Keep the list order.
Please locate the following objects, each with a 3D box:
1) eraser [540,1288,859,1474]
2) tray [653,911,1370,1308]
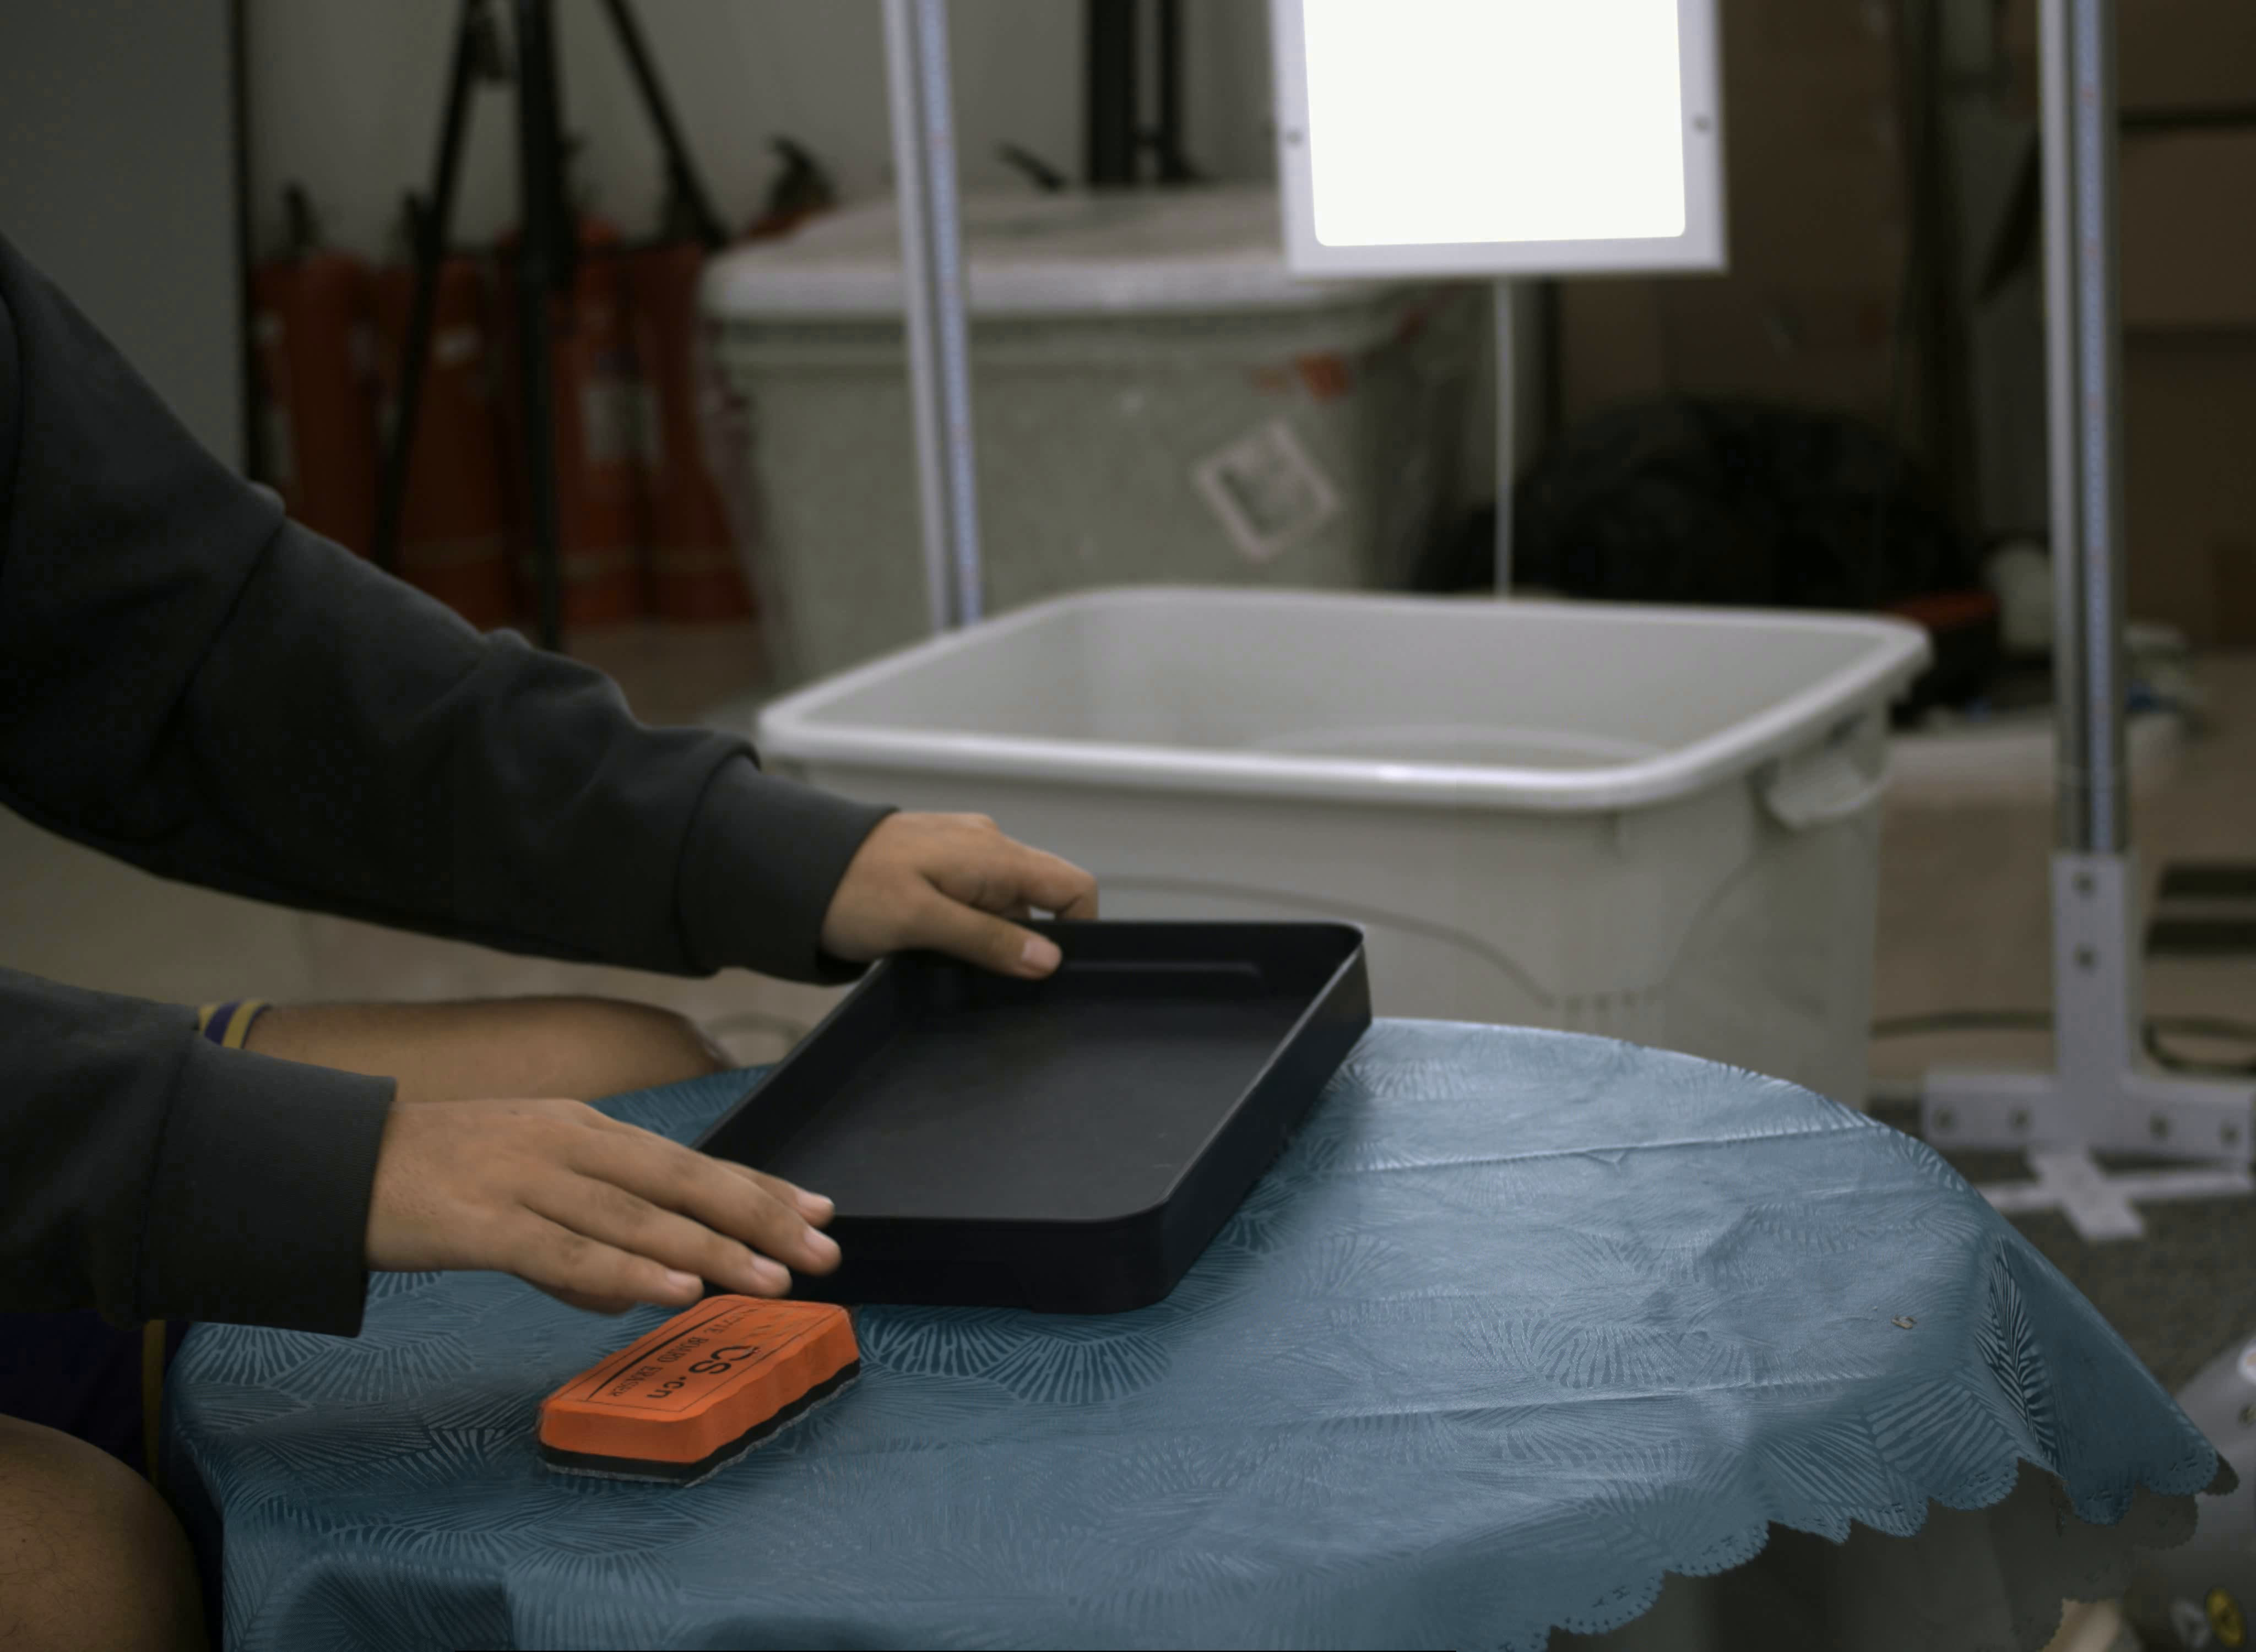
[{"bbox_3d":[-0.131,0.171,1.703,0.060,0.023,0.105,-6,13,30],"label":"eraser"},{"bbox_3d":[-0.032,0.095,1.938,0.186,0.037,0.313,-2,17,17],"label":"tray"}]
